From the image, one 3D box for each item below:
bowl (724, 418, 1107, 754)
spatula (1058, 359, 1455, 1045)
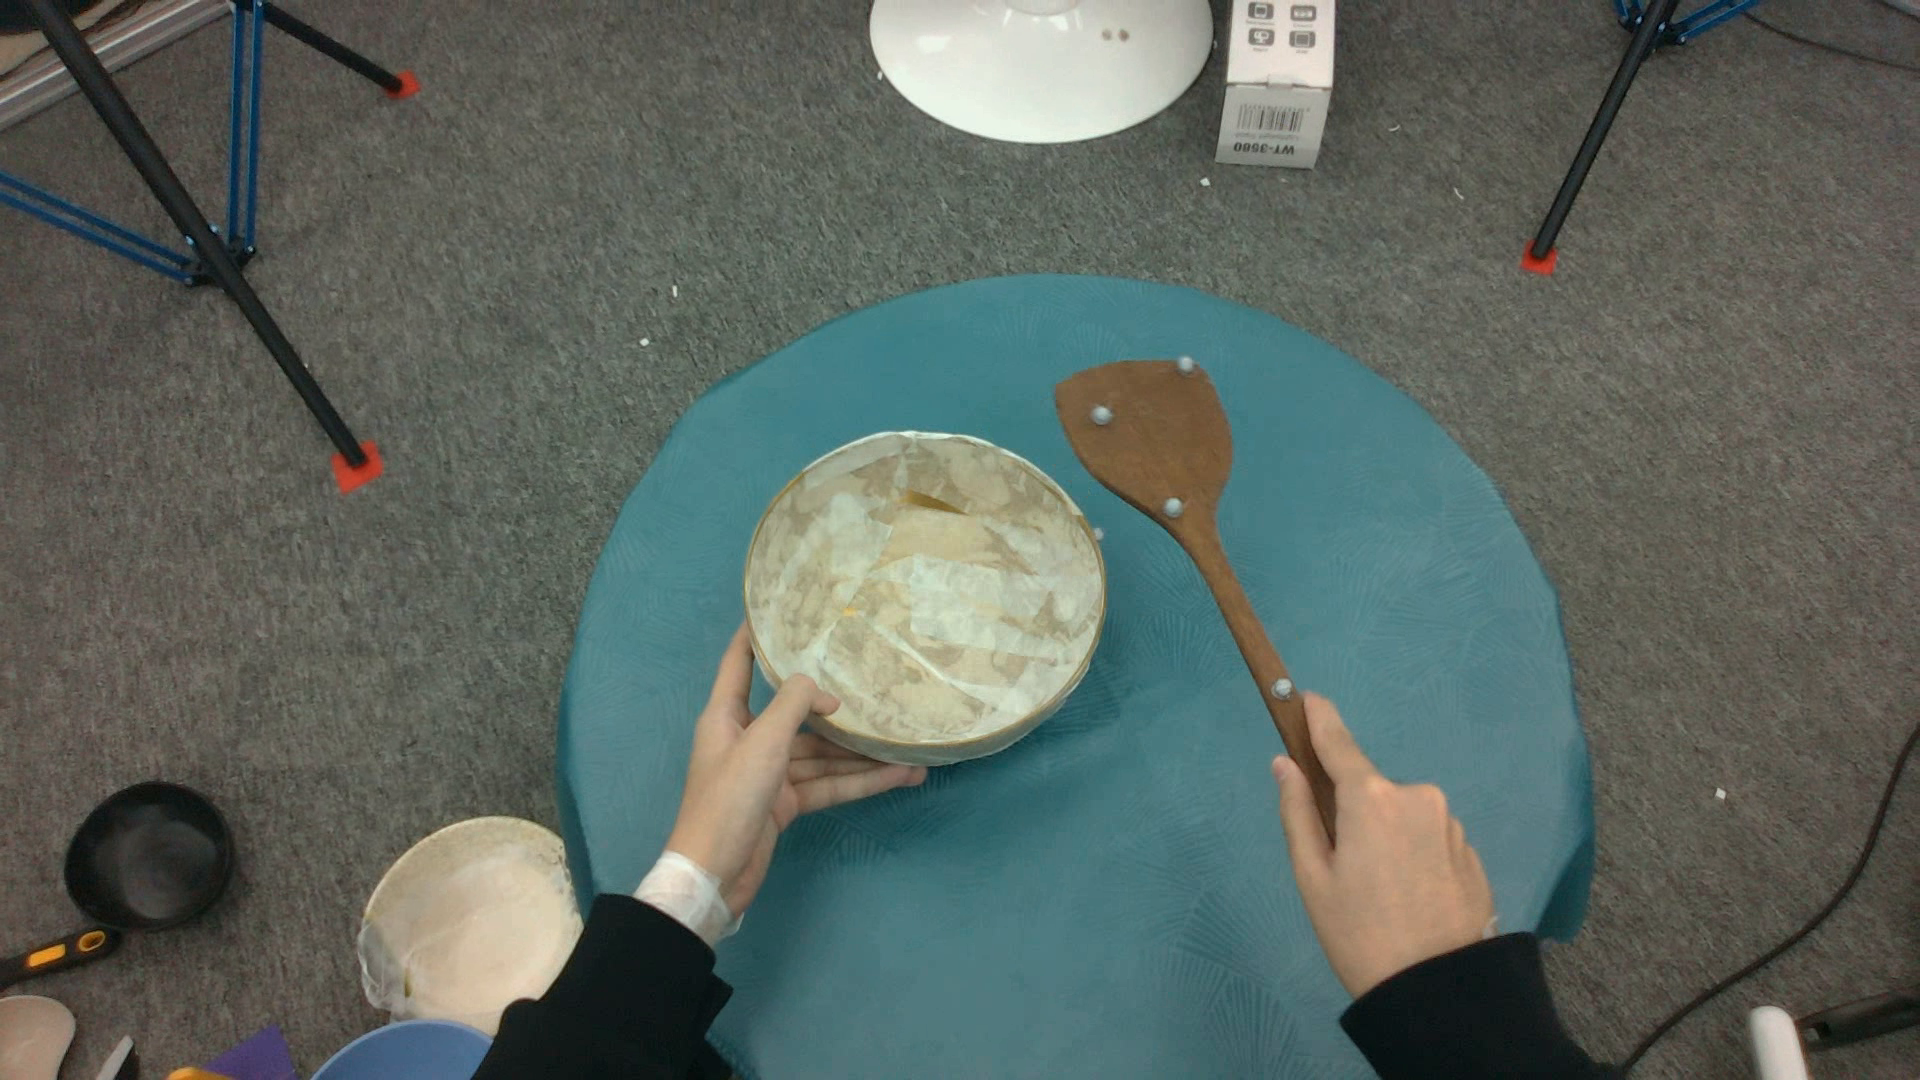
[{"bbox_3d":[-0.028,0.040,0.783,0.215,0.094,0.215,3,58,-4],"label":"bowl"},{"bbox_3d":[0.147,0.055,0.678,0.096,0.015,0.387,-9,56,-17],"label":"spatula"}]
